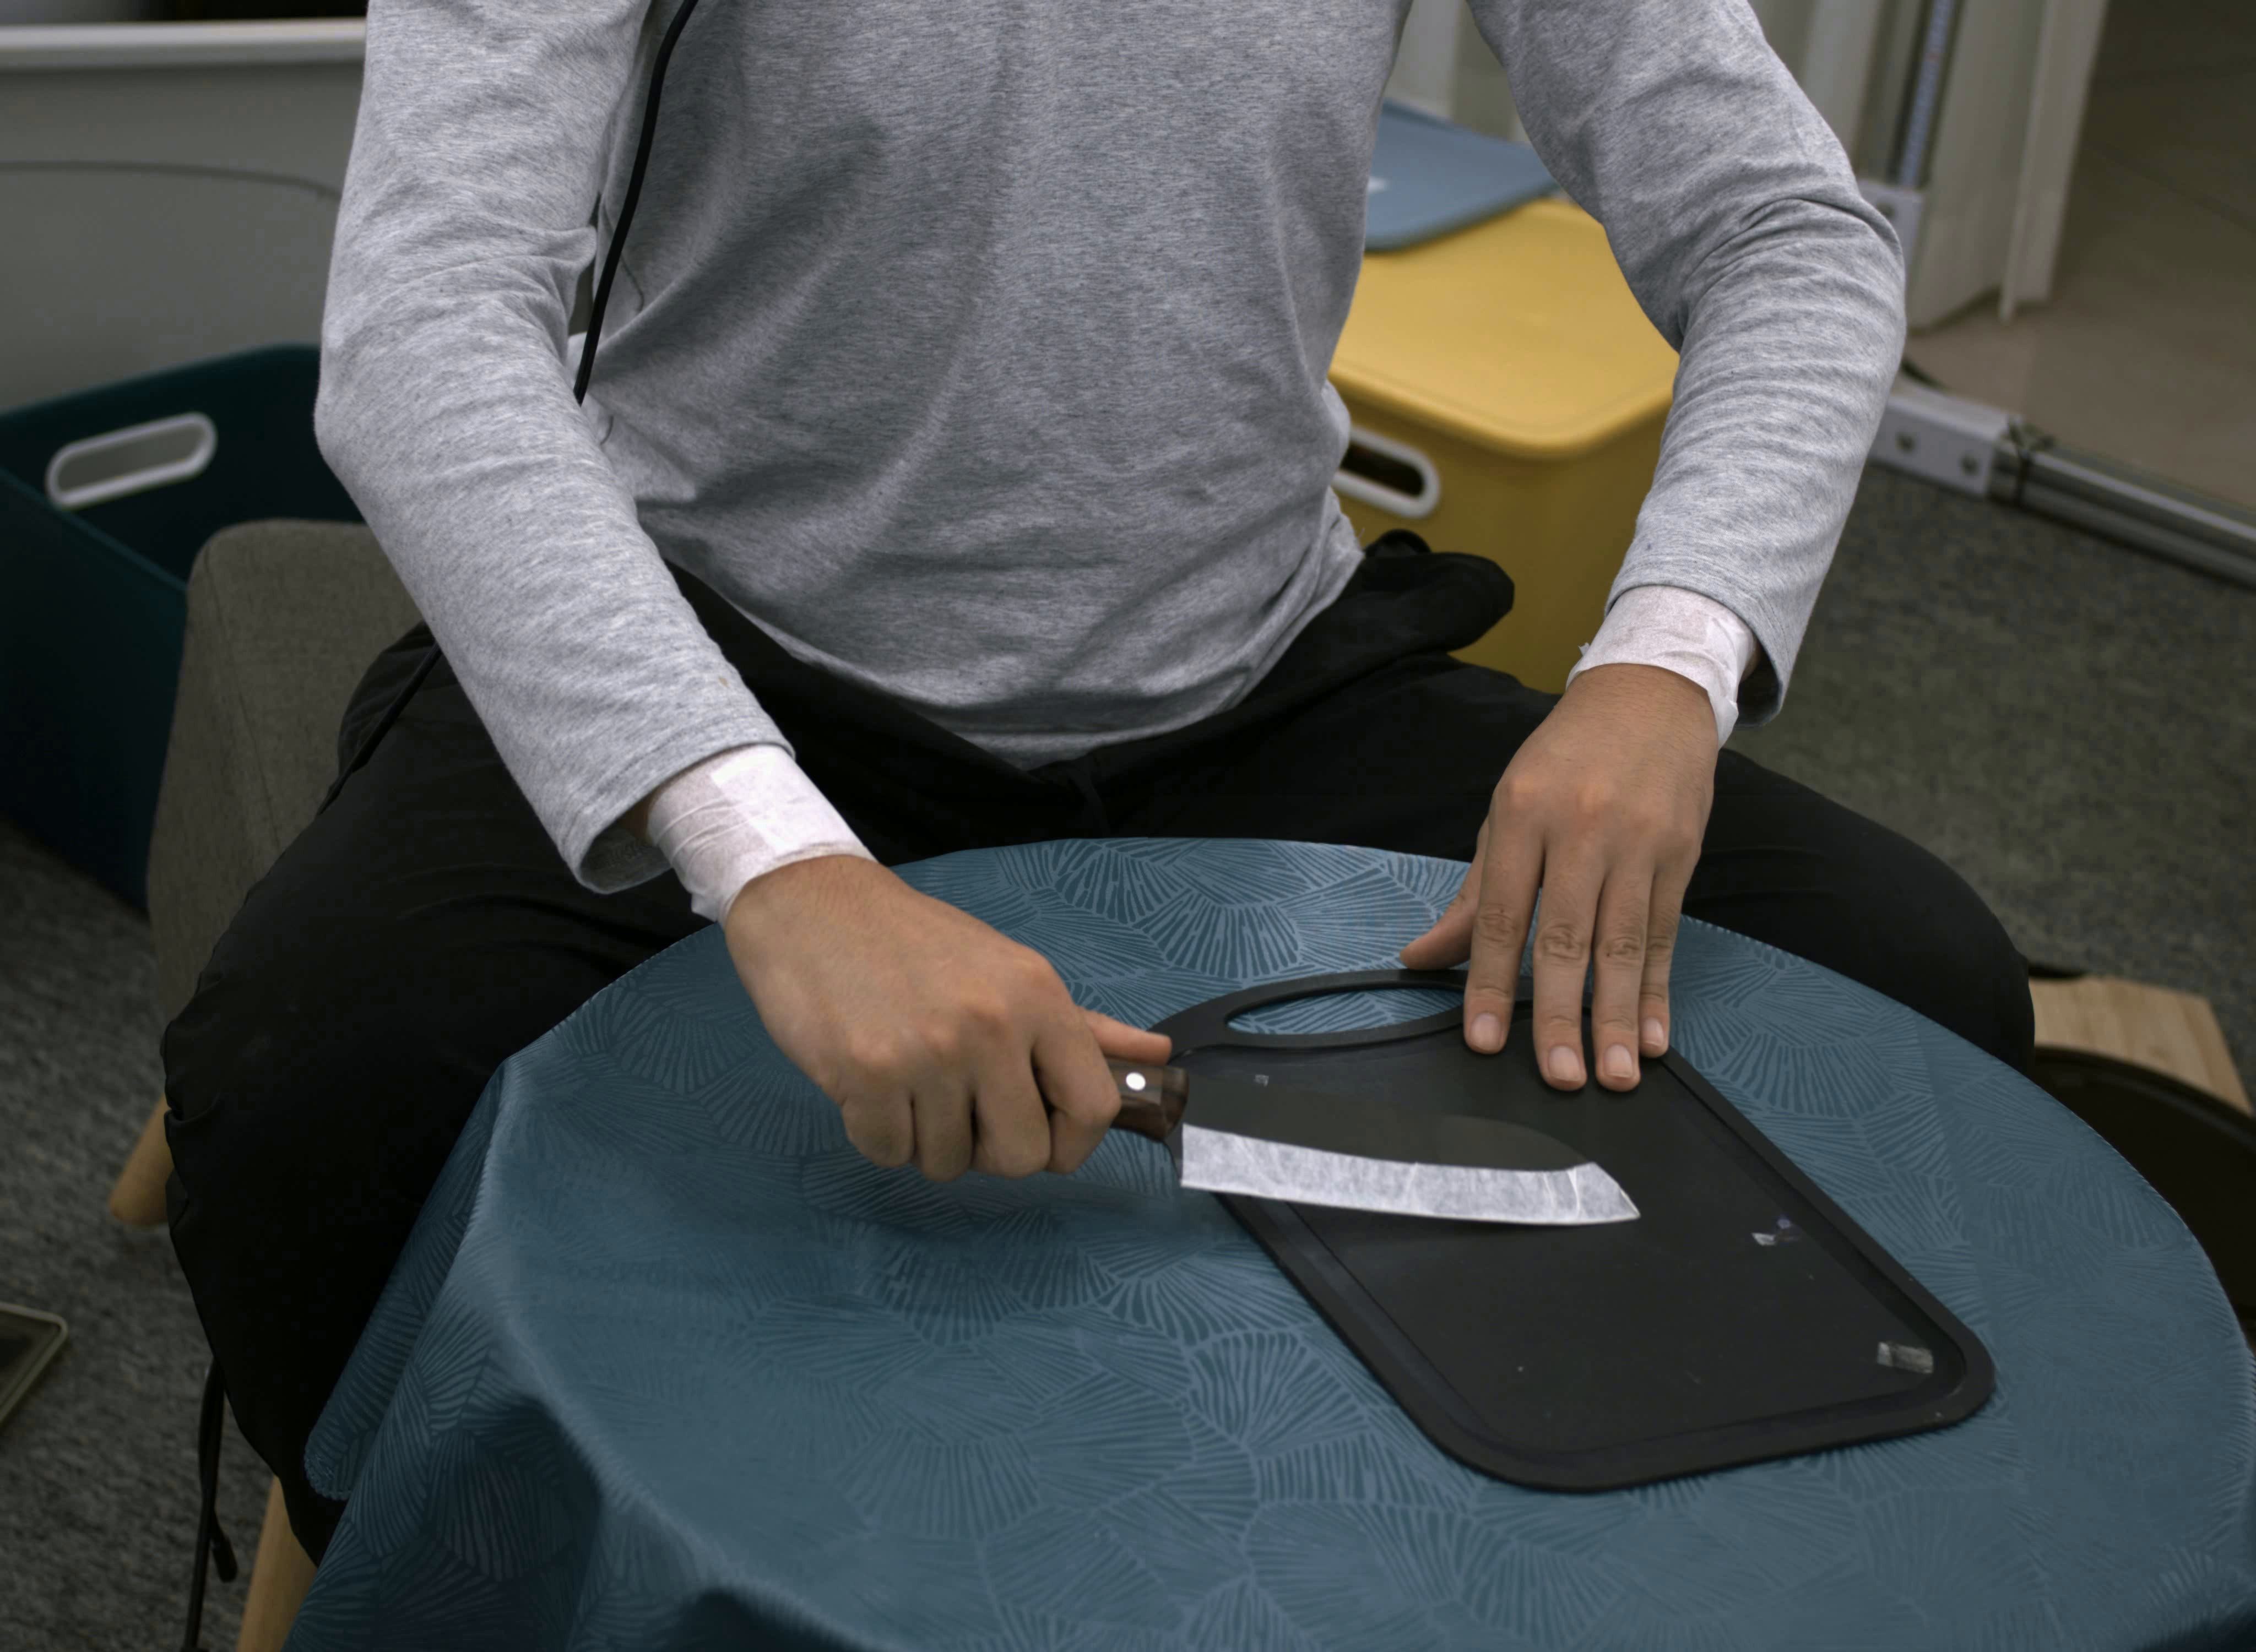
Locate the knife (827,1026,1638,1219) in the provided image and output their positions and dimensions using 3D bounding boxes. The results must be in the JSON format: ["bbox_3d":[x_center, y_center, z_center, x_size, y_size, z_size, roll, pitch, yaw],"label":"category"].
[{"bbox_3d":[0.038,0.102,1.793,0.287,0.020,0.050,11,56,-14],"label":"knife"}]

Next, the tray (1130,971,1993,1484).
[{"bbox_3d":[0.139,0.128,1.823,0.210,0.010,0.328,-6,29,-24],"label":"tray"}]
